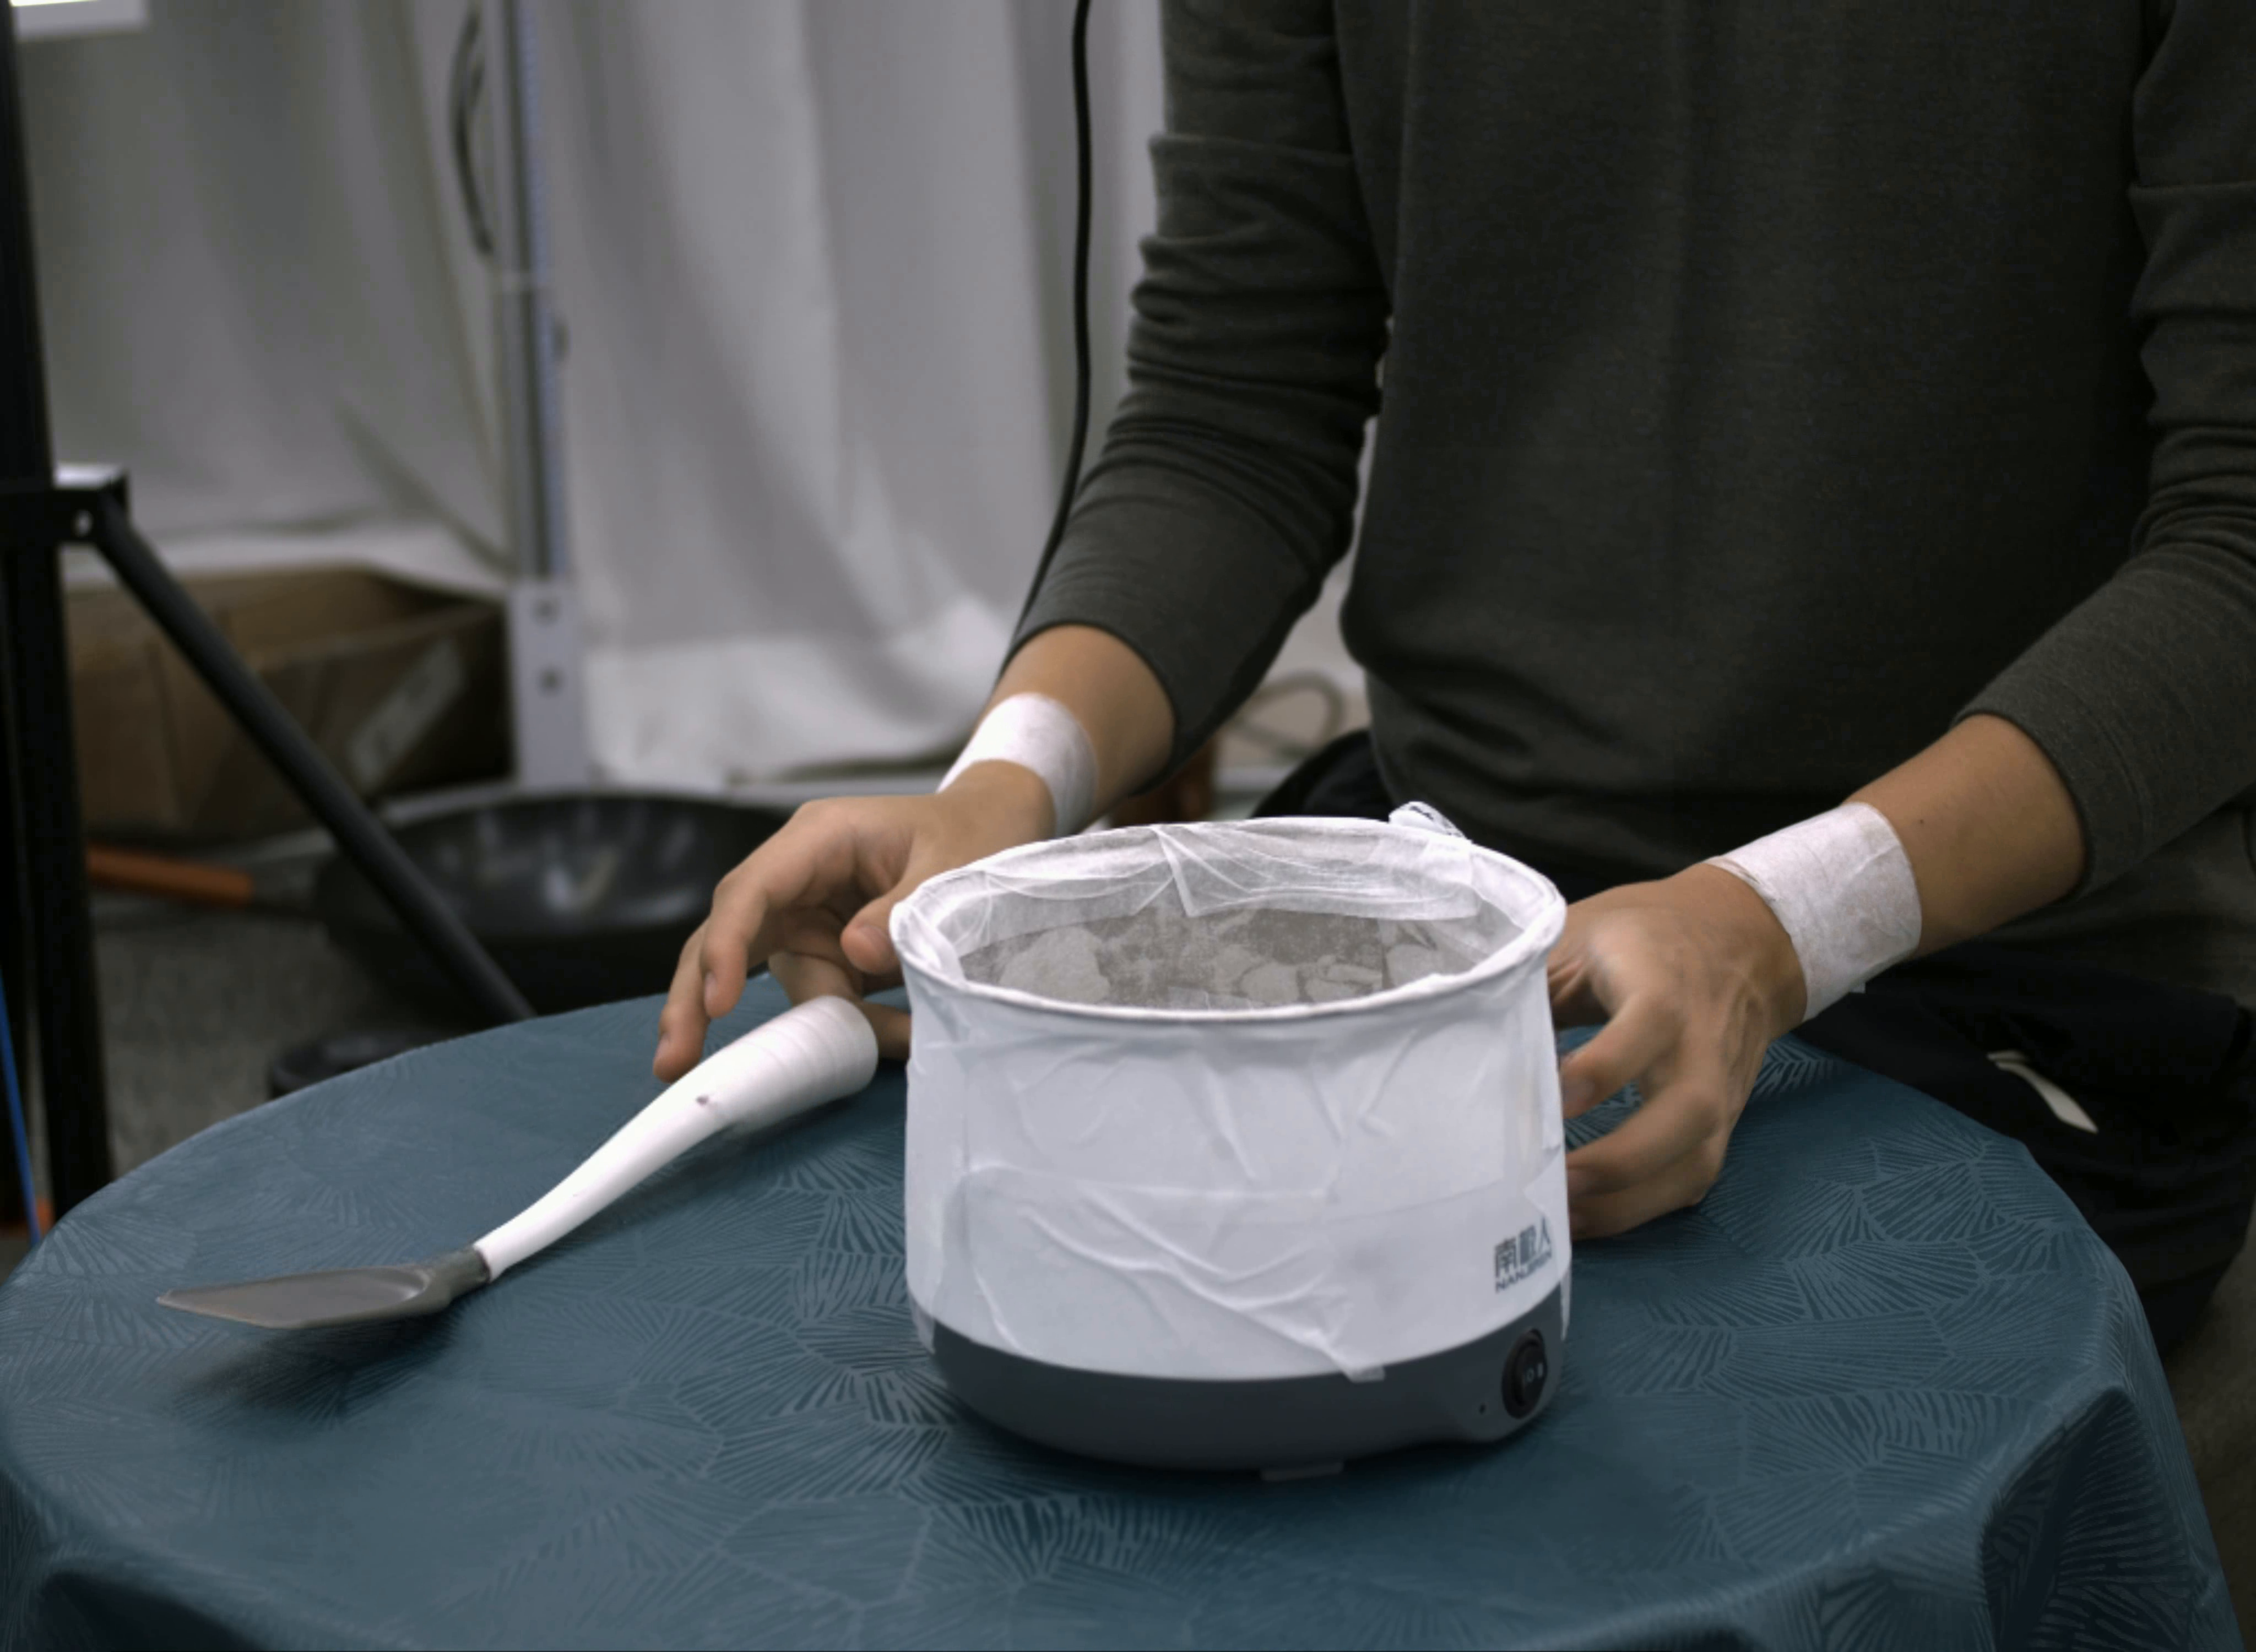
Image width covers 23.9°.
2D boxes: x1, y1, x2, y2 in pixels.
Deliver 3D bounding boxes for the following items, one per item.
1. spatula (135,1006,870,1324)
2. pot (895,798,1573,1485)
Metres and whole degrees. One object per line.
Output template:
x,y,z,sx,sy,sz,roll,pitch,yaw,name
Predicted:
-0.170,0.105,1.540,0.060,0.032,0.282,12,20,32,spatula
0.043,0.076,1.416,0.182,0.136,0.229,8,19,32,pot
